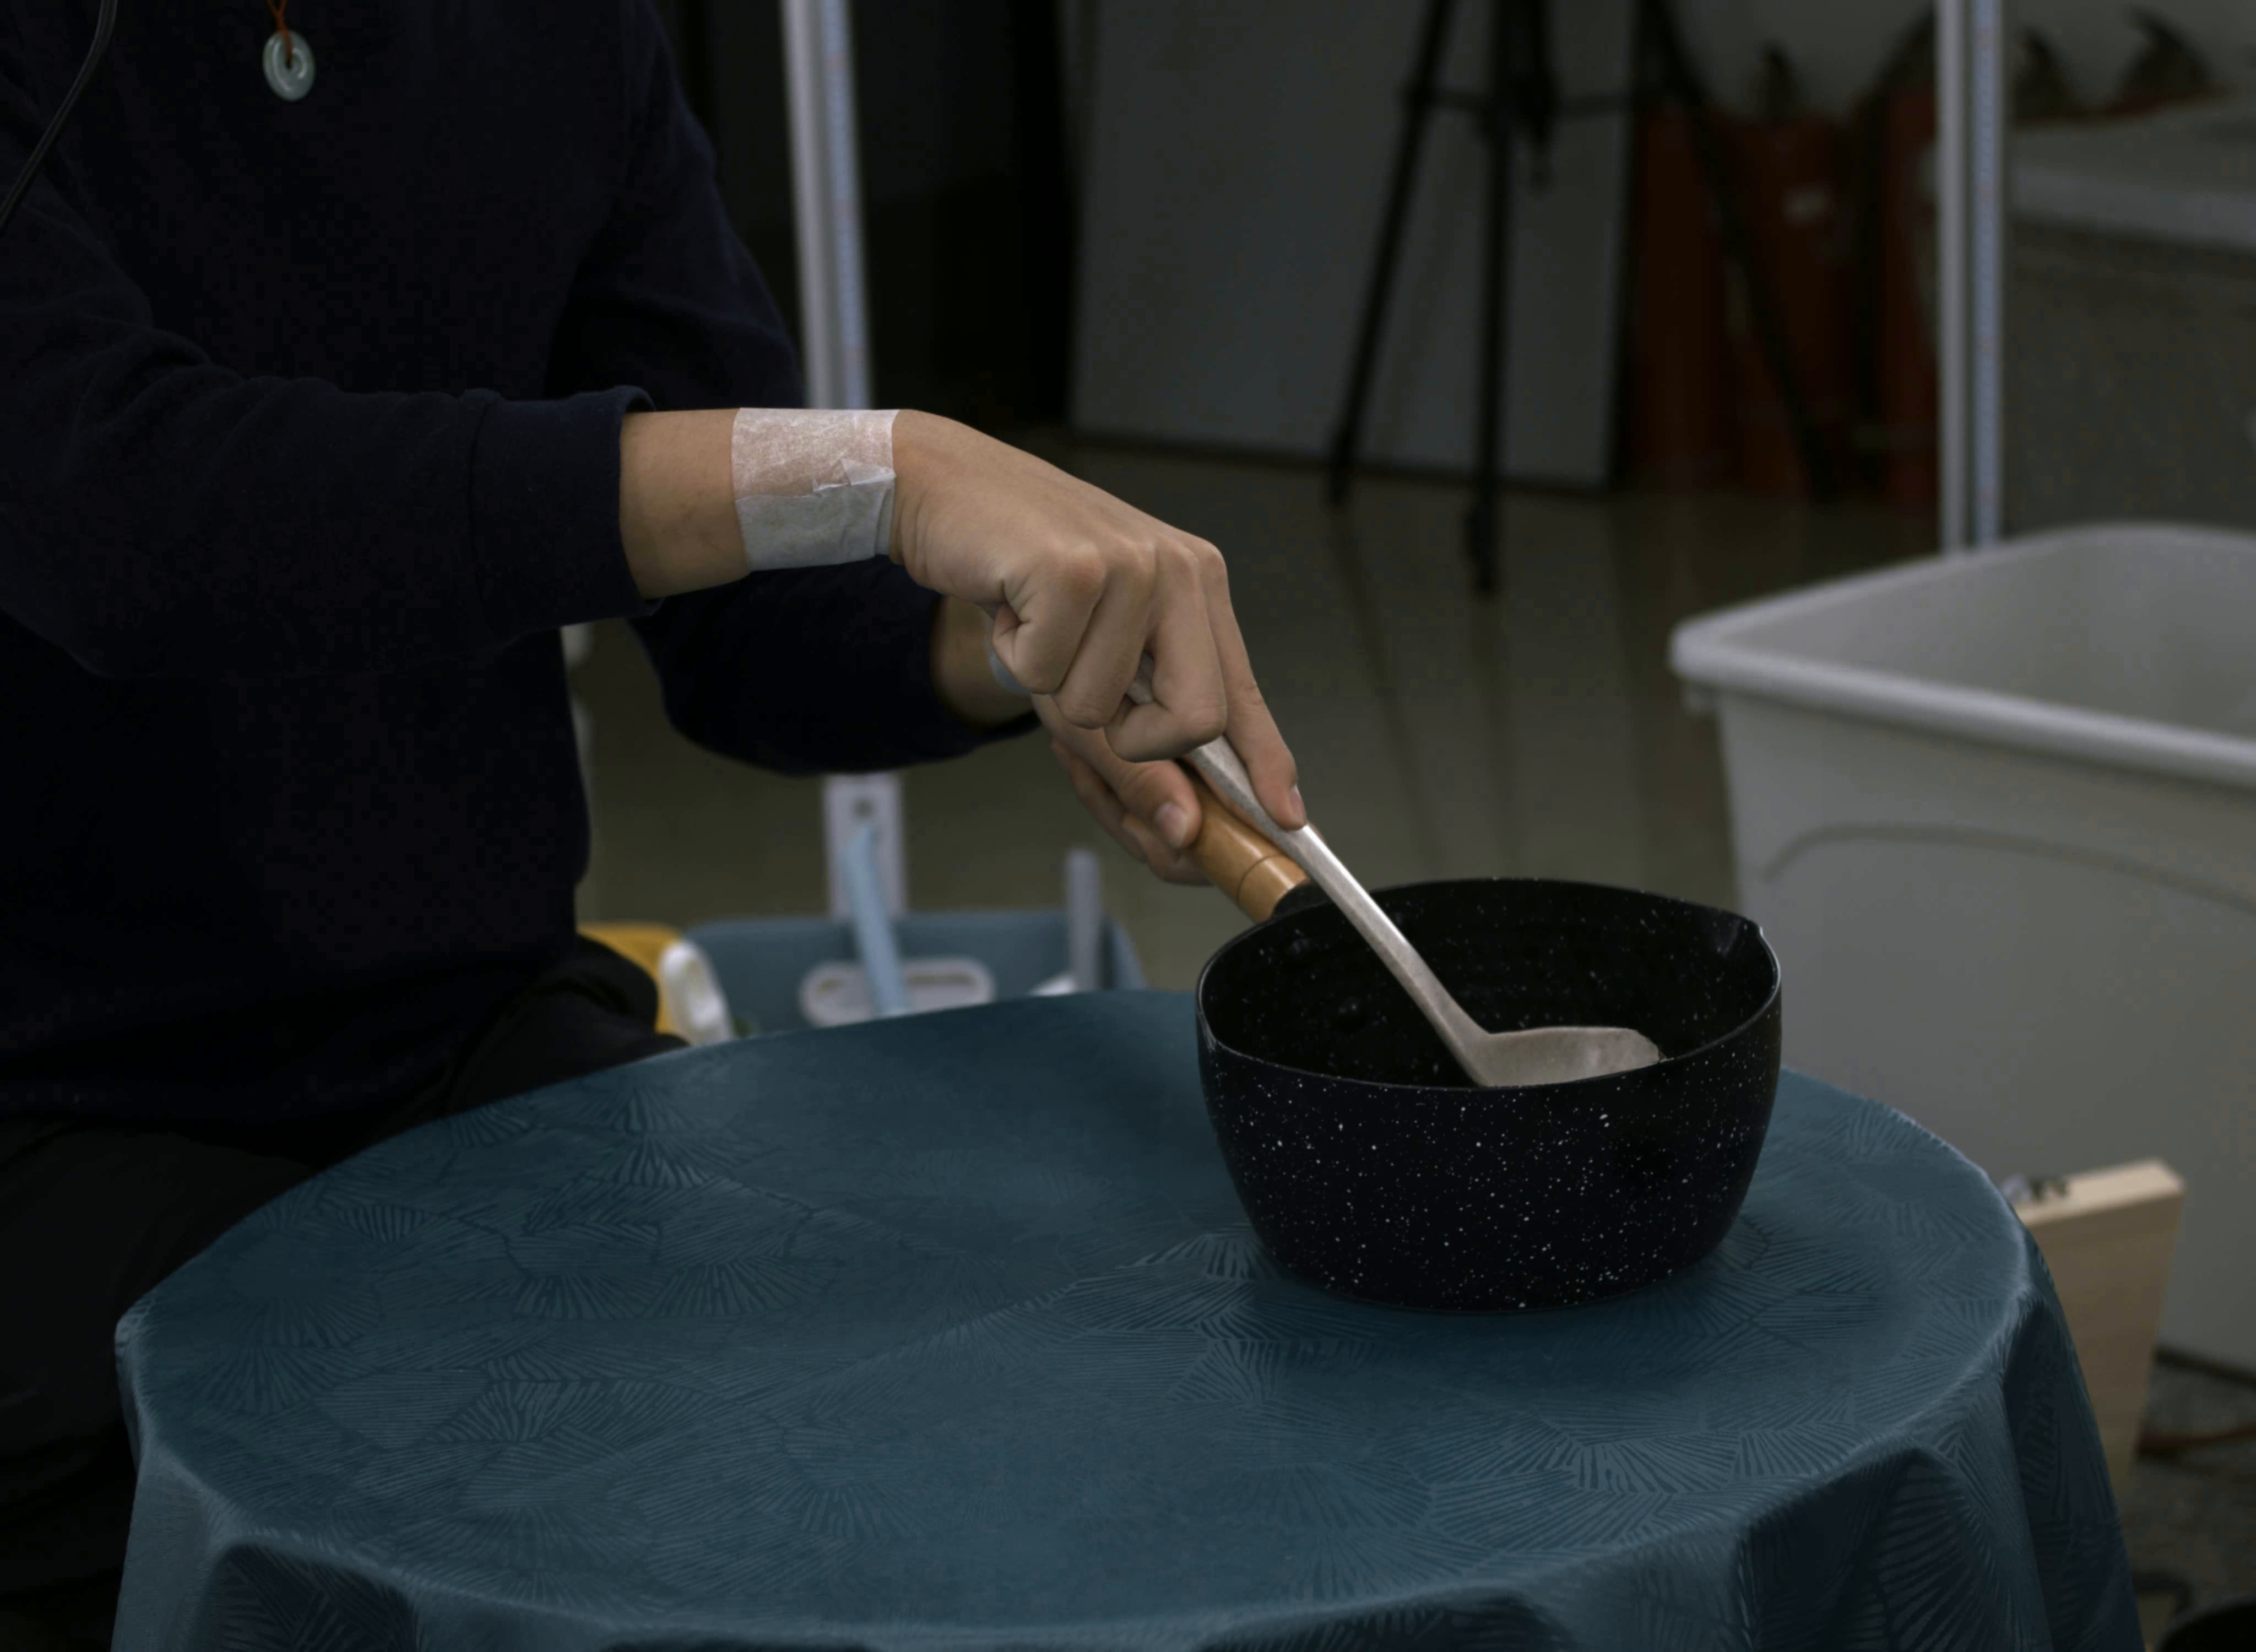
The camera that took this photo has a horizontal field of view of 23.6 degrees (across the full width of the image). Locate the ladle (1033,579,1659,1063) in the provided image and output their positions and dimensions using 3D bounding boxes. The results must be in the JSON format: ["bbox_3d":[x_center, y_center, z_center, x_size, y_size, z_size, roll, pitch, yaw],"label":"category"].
[{"bbox_3d":[0.081,0.009,1.671,0.070,0.273,0.089,-32,20,24],"label":"ladle"}]

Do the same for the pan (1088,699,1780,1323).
[{"bbox_3d":[0.074,0.054,1.749,0.203,0.109,0.346,-15,23,-25],"label":"pan"}]
